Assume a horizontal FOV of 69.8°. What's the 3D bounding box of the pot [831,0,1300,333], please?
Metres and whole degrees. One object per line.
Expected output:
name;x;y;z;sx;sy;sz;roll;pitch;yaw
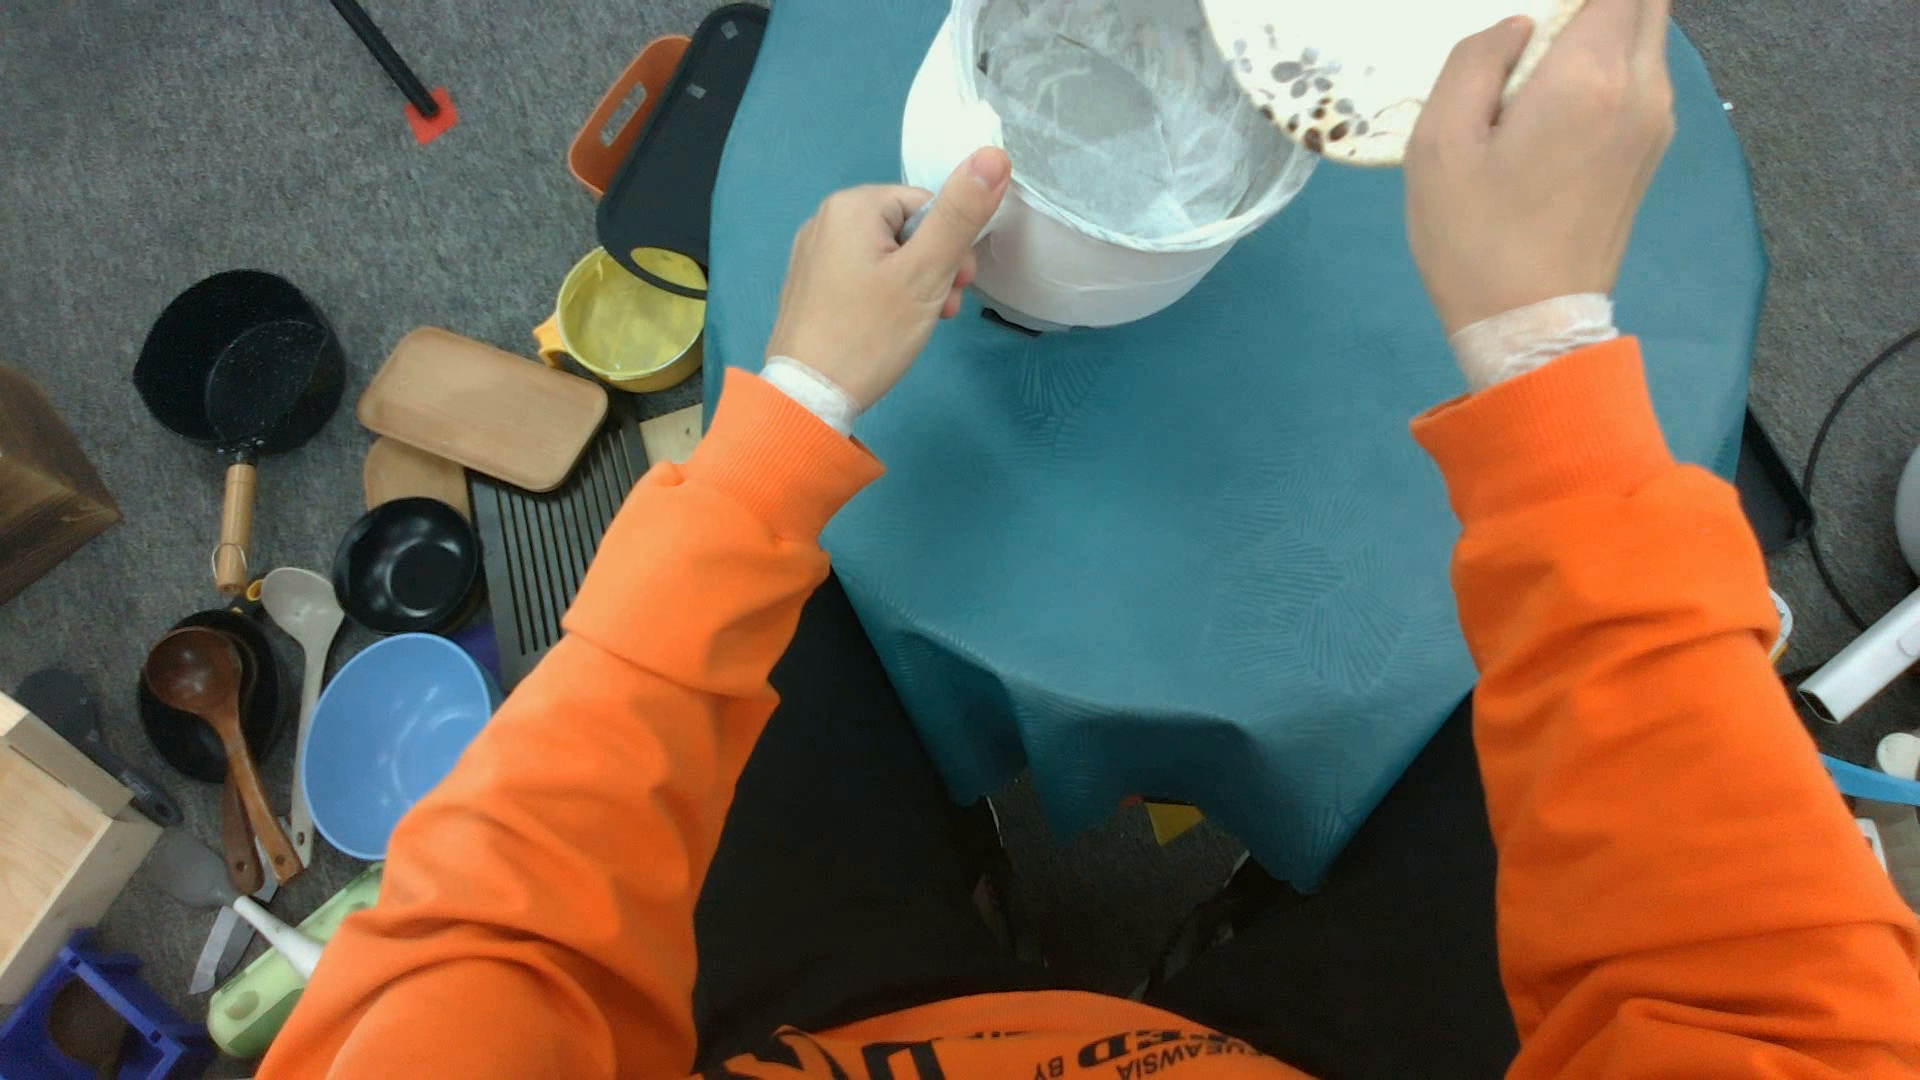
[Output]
pot;0.039;-0.189;0.652;0.234;0.136;0.178;-44;92;-18

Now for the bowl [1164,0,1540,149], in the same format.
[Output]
bowl;0.158;-0.259;0.518;0.078;0.203;0.204;-30;72;-25
